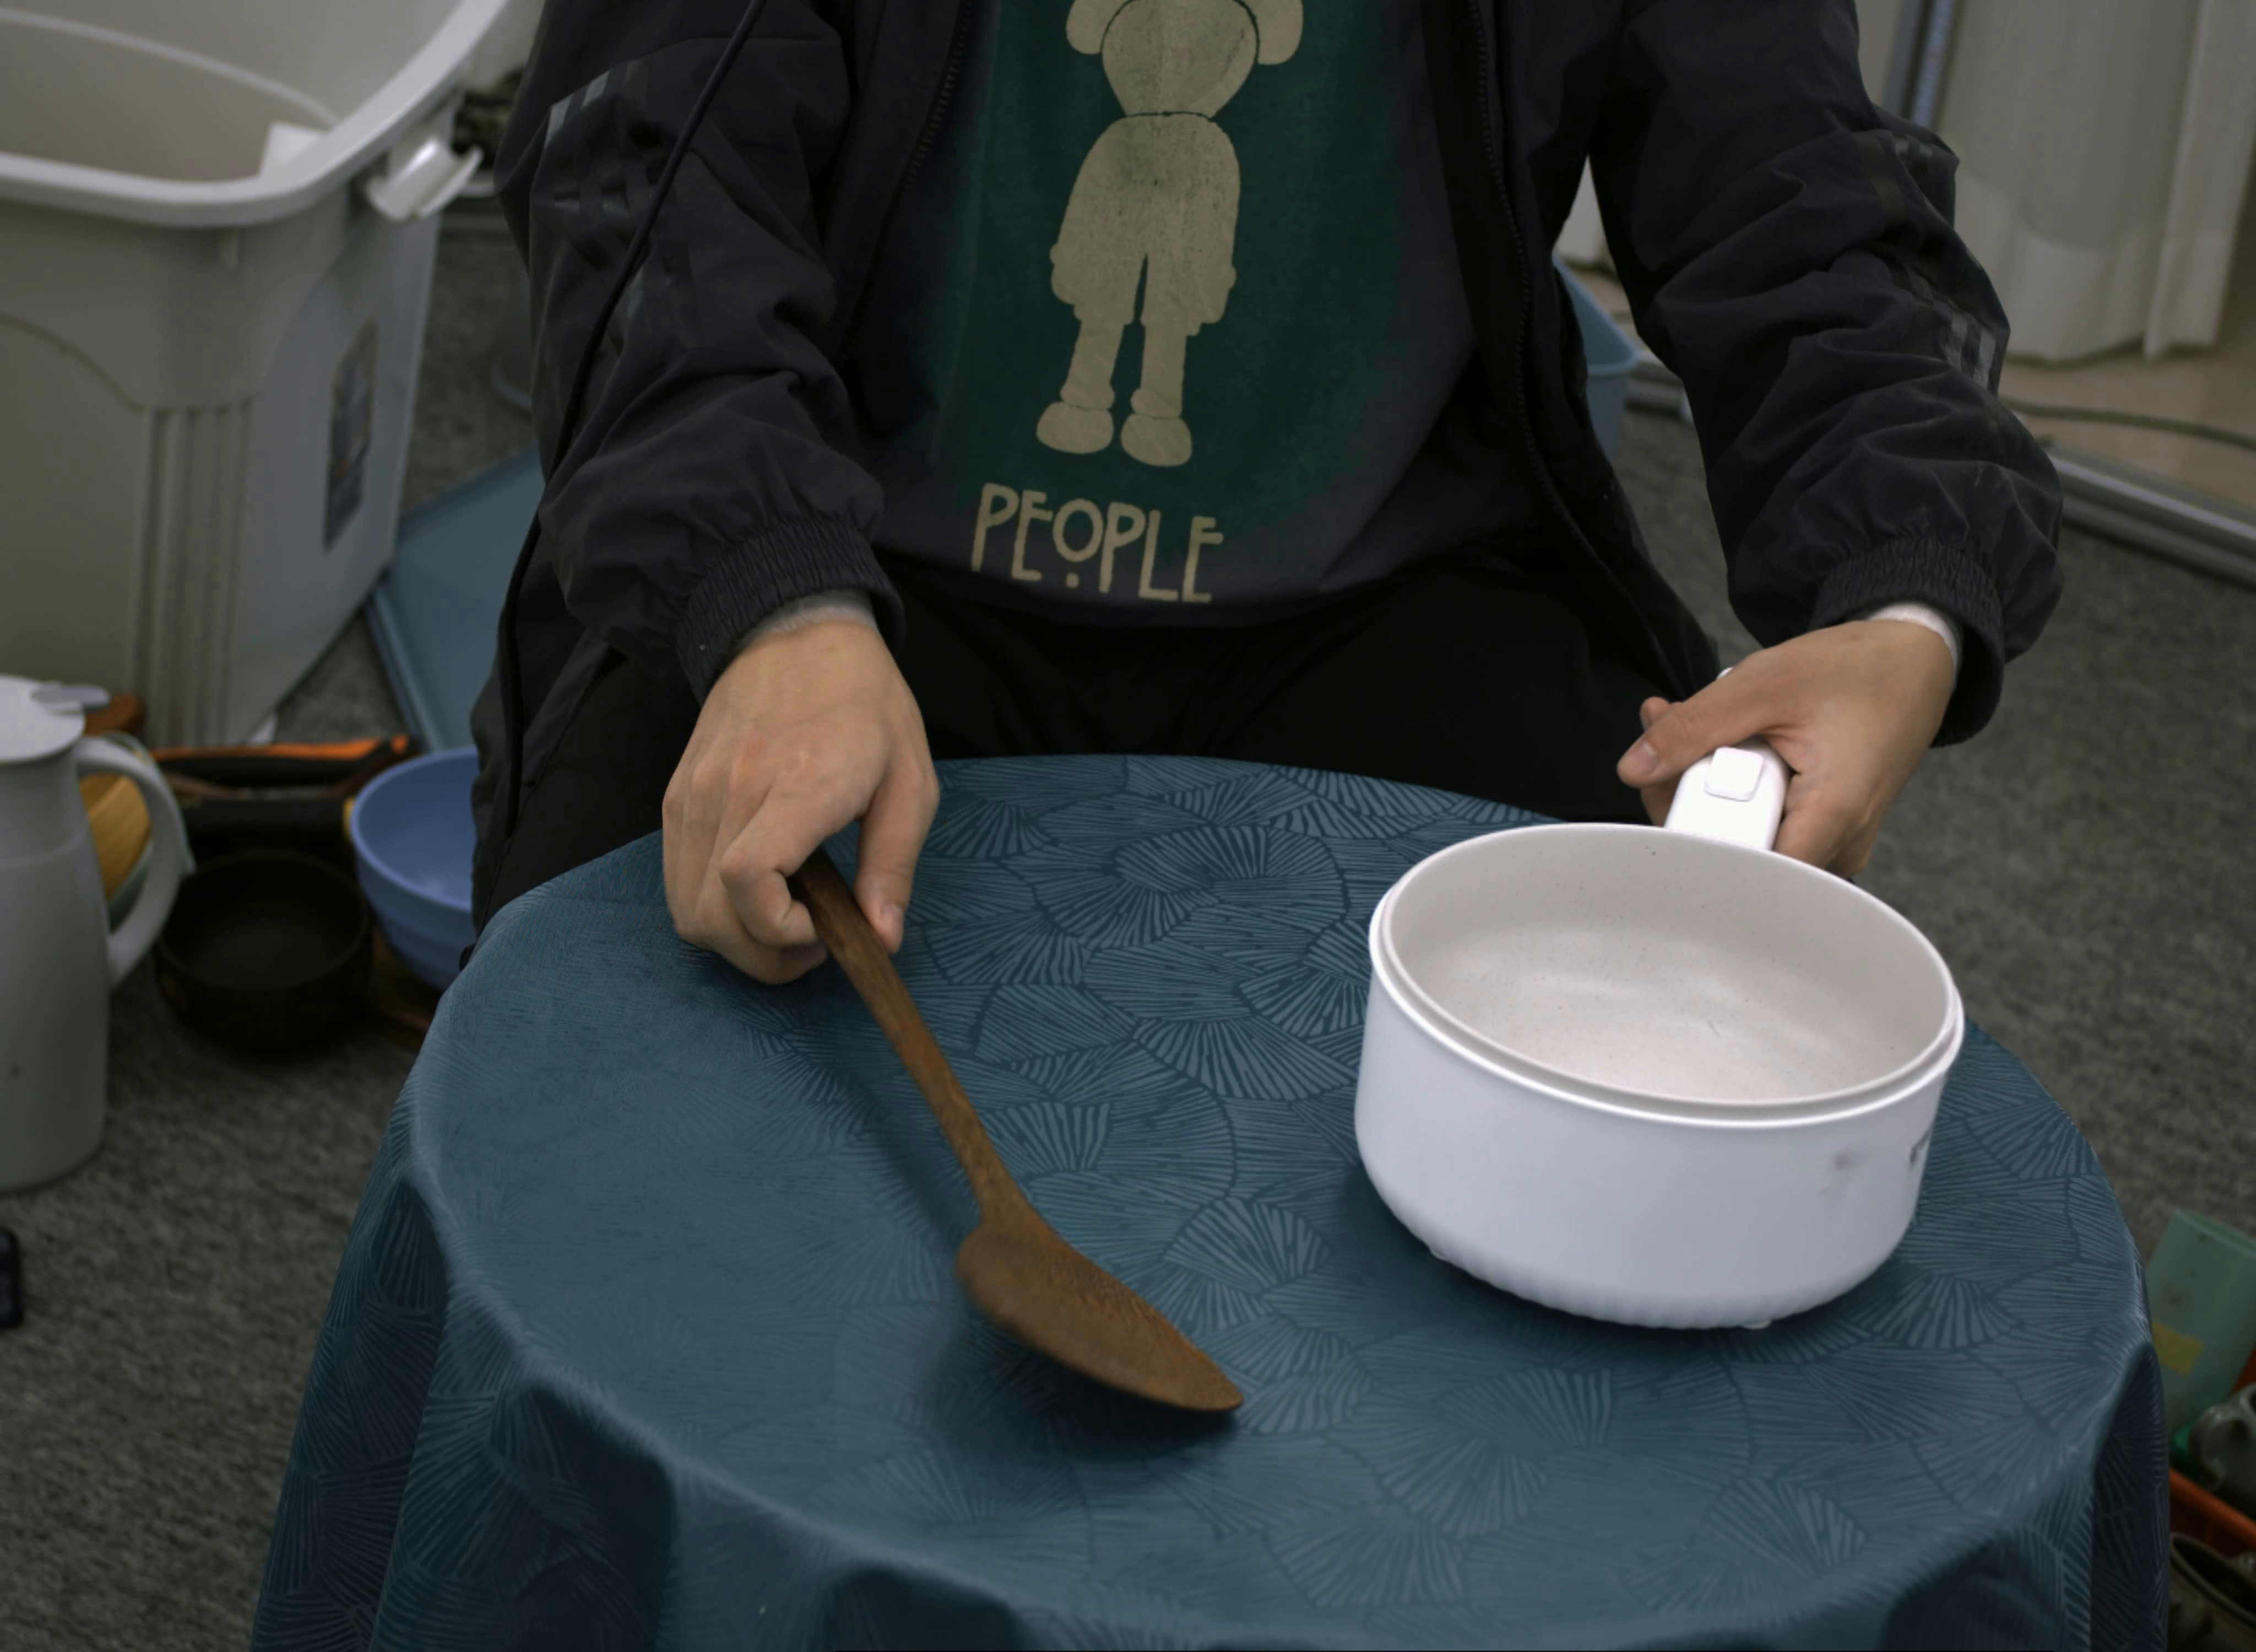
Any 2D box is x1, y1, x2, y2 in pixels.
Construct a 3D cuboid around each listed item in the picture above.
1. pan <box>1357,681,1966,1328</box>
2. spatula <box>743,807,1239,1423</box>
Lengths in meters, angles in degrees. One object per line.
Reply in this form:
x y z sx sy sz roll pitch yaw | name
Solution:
0.195 0.058 1.872 0.201 0.102 0.355 11 25 11 | pan
-0.066 0.088 1.805 0.095 0.016 0.389 17 22 -31 | spatula
